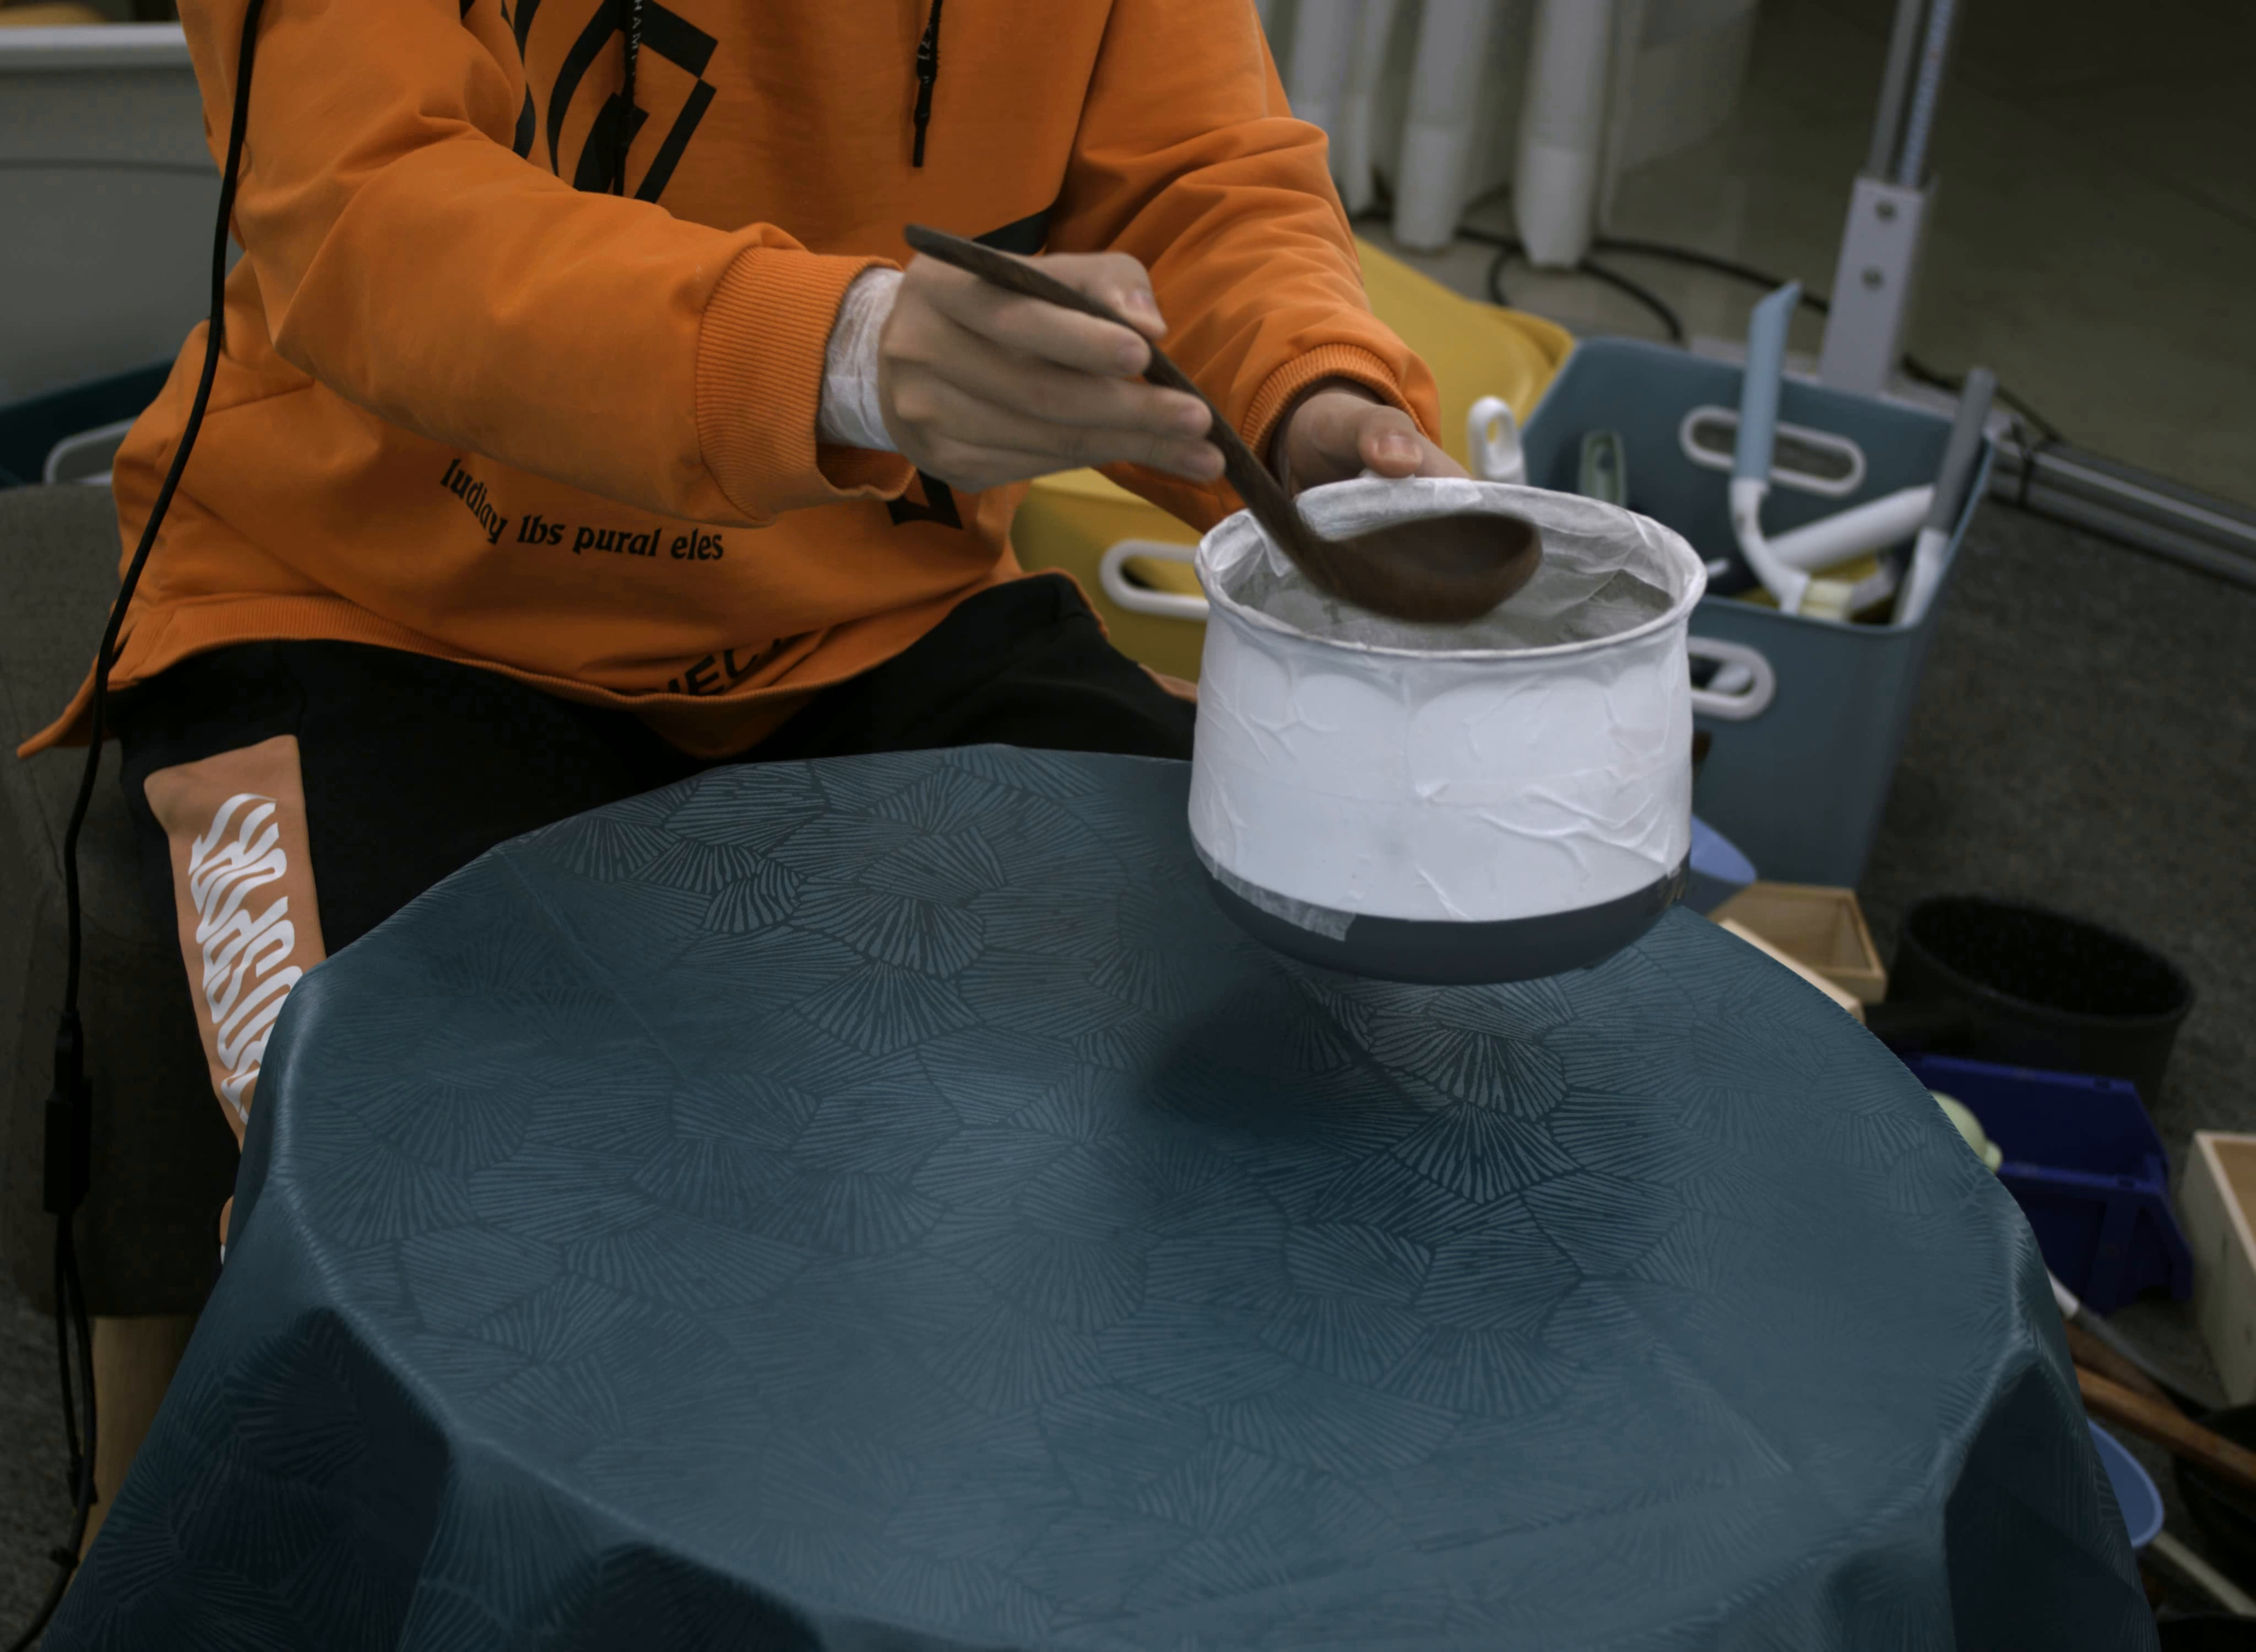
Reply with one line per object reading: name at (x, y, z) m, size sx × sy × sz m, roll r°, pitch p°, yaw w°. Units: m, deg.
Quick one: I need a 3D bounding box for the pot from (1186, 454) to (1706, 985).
pot at (0.103, -0.043, 1.879) m, size 0.178 × 0.136 × 0.235 m, roll -3°, pitch 23°, yaw -11°

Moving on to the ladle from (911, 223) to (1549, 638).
ladle at (0.039, -0.144, 1.770) m, size 0.271 × 0.071 × 0.076 m, roll 40°, pitch -12°, yaw -34°
